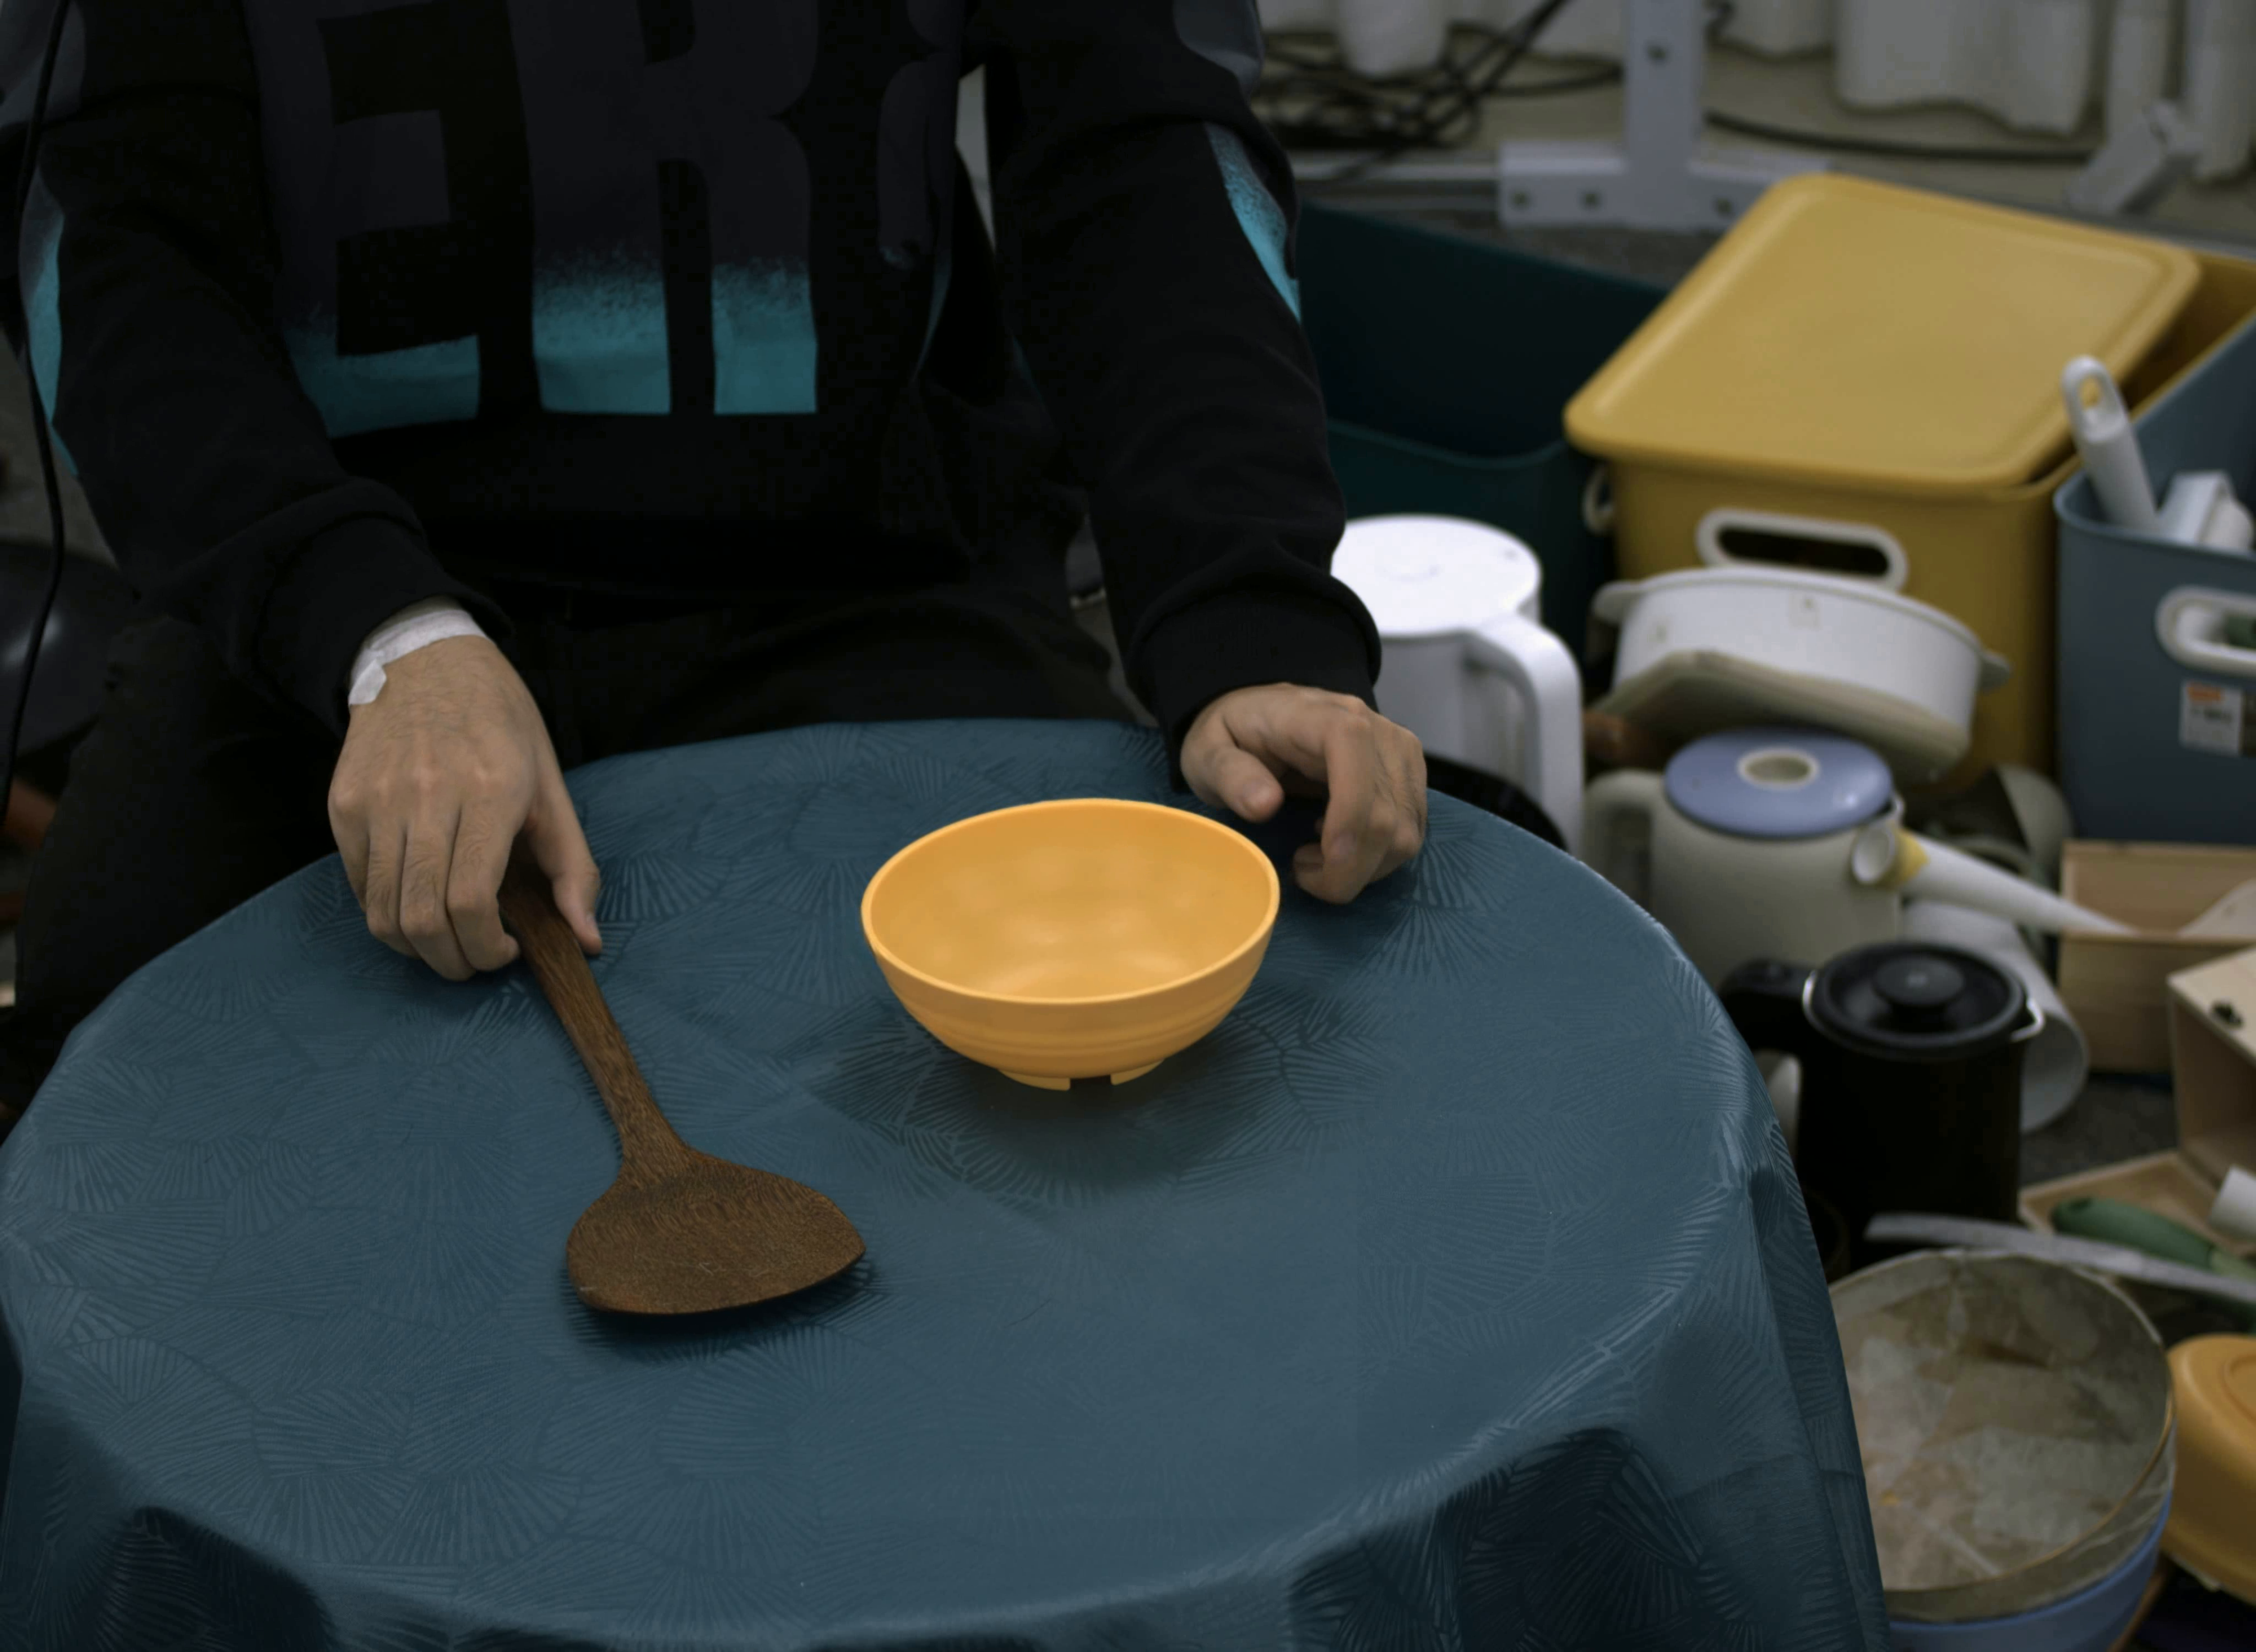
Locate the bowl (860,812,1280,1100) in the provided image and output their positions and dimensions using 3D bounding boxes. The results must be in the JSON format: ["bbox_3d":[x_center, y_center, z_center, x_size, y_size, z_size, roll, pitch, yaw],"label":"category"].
[{"bbox_3d":[-0.019,0.053,1.938,0.144,0.059,0.147,0,25,0],"label":"bowl"}]

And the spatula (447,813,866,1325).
[{"bbox_3d":[-0.184,0.076,1.953,0.096,0.015,0.389,-10,28,-16],"label":"spatula"}]
